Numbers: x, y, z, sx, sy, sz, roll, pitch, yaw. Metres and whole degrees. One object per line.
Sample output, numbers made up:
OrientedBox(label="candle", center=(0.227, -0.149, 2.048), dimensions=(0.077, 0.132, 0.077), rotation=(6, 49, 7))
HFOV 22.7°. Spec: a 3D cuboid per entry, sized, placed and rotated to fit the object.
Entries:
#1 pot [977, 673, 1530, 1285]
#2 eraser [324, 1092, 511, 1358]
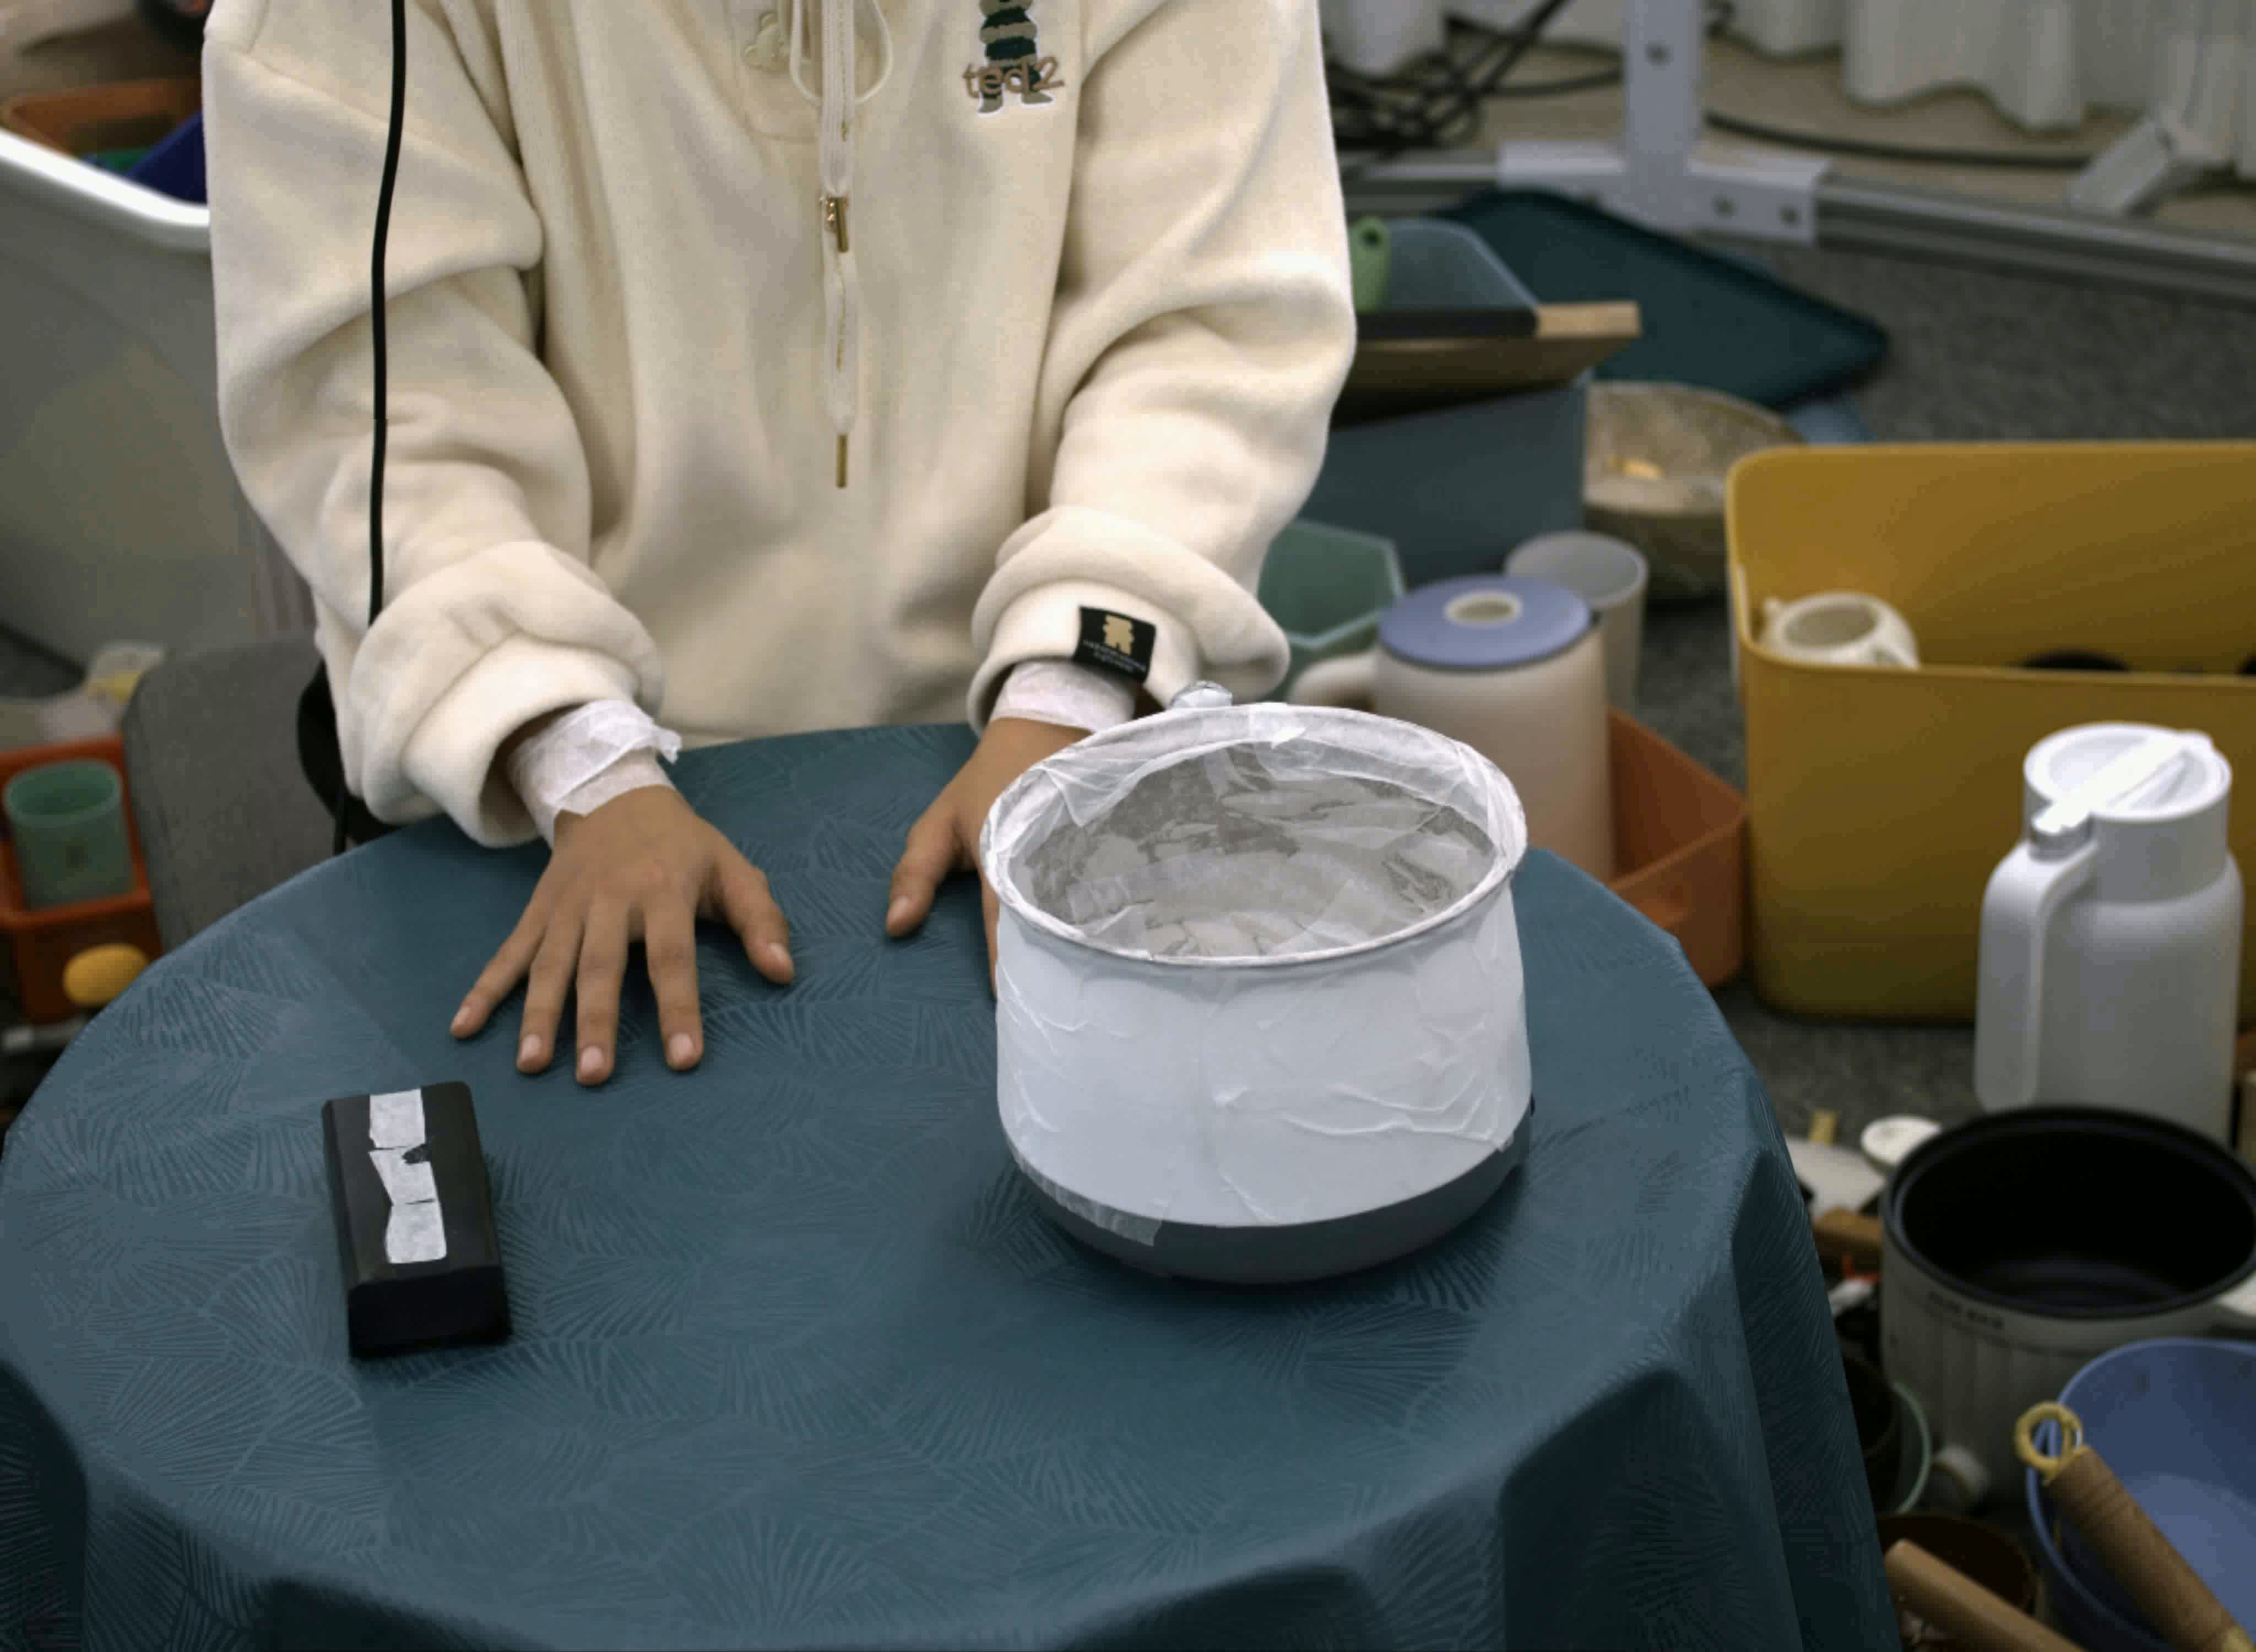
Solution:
OrientedBox(label="pot", center=(0.038, 0.043, 1.860), dimensions=(0.178, 0.135, 0.236), rotation=(-7, 28, -8))
OrientedBox(label="eraser", center=(-0.233, 0.130, 1.839), dimensions=(0.053, 0.030, 0.127), rotation=(-7, 26, -8))
